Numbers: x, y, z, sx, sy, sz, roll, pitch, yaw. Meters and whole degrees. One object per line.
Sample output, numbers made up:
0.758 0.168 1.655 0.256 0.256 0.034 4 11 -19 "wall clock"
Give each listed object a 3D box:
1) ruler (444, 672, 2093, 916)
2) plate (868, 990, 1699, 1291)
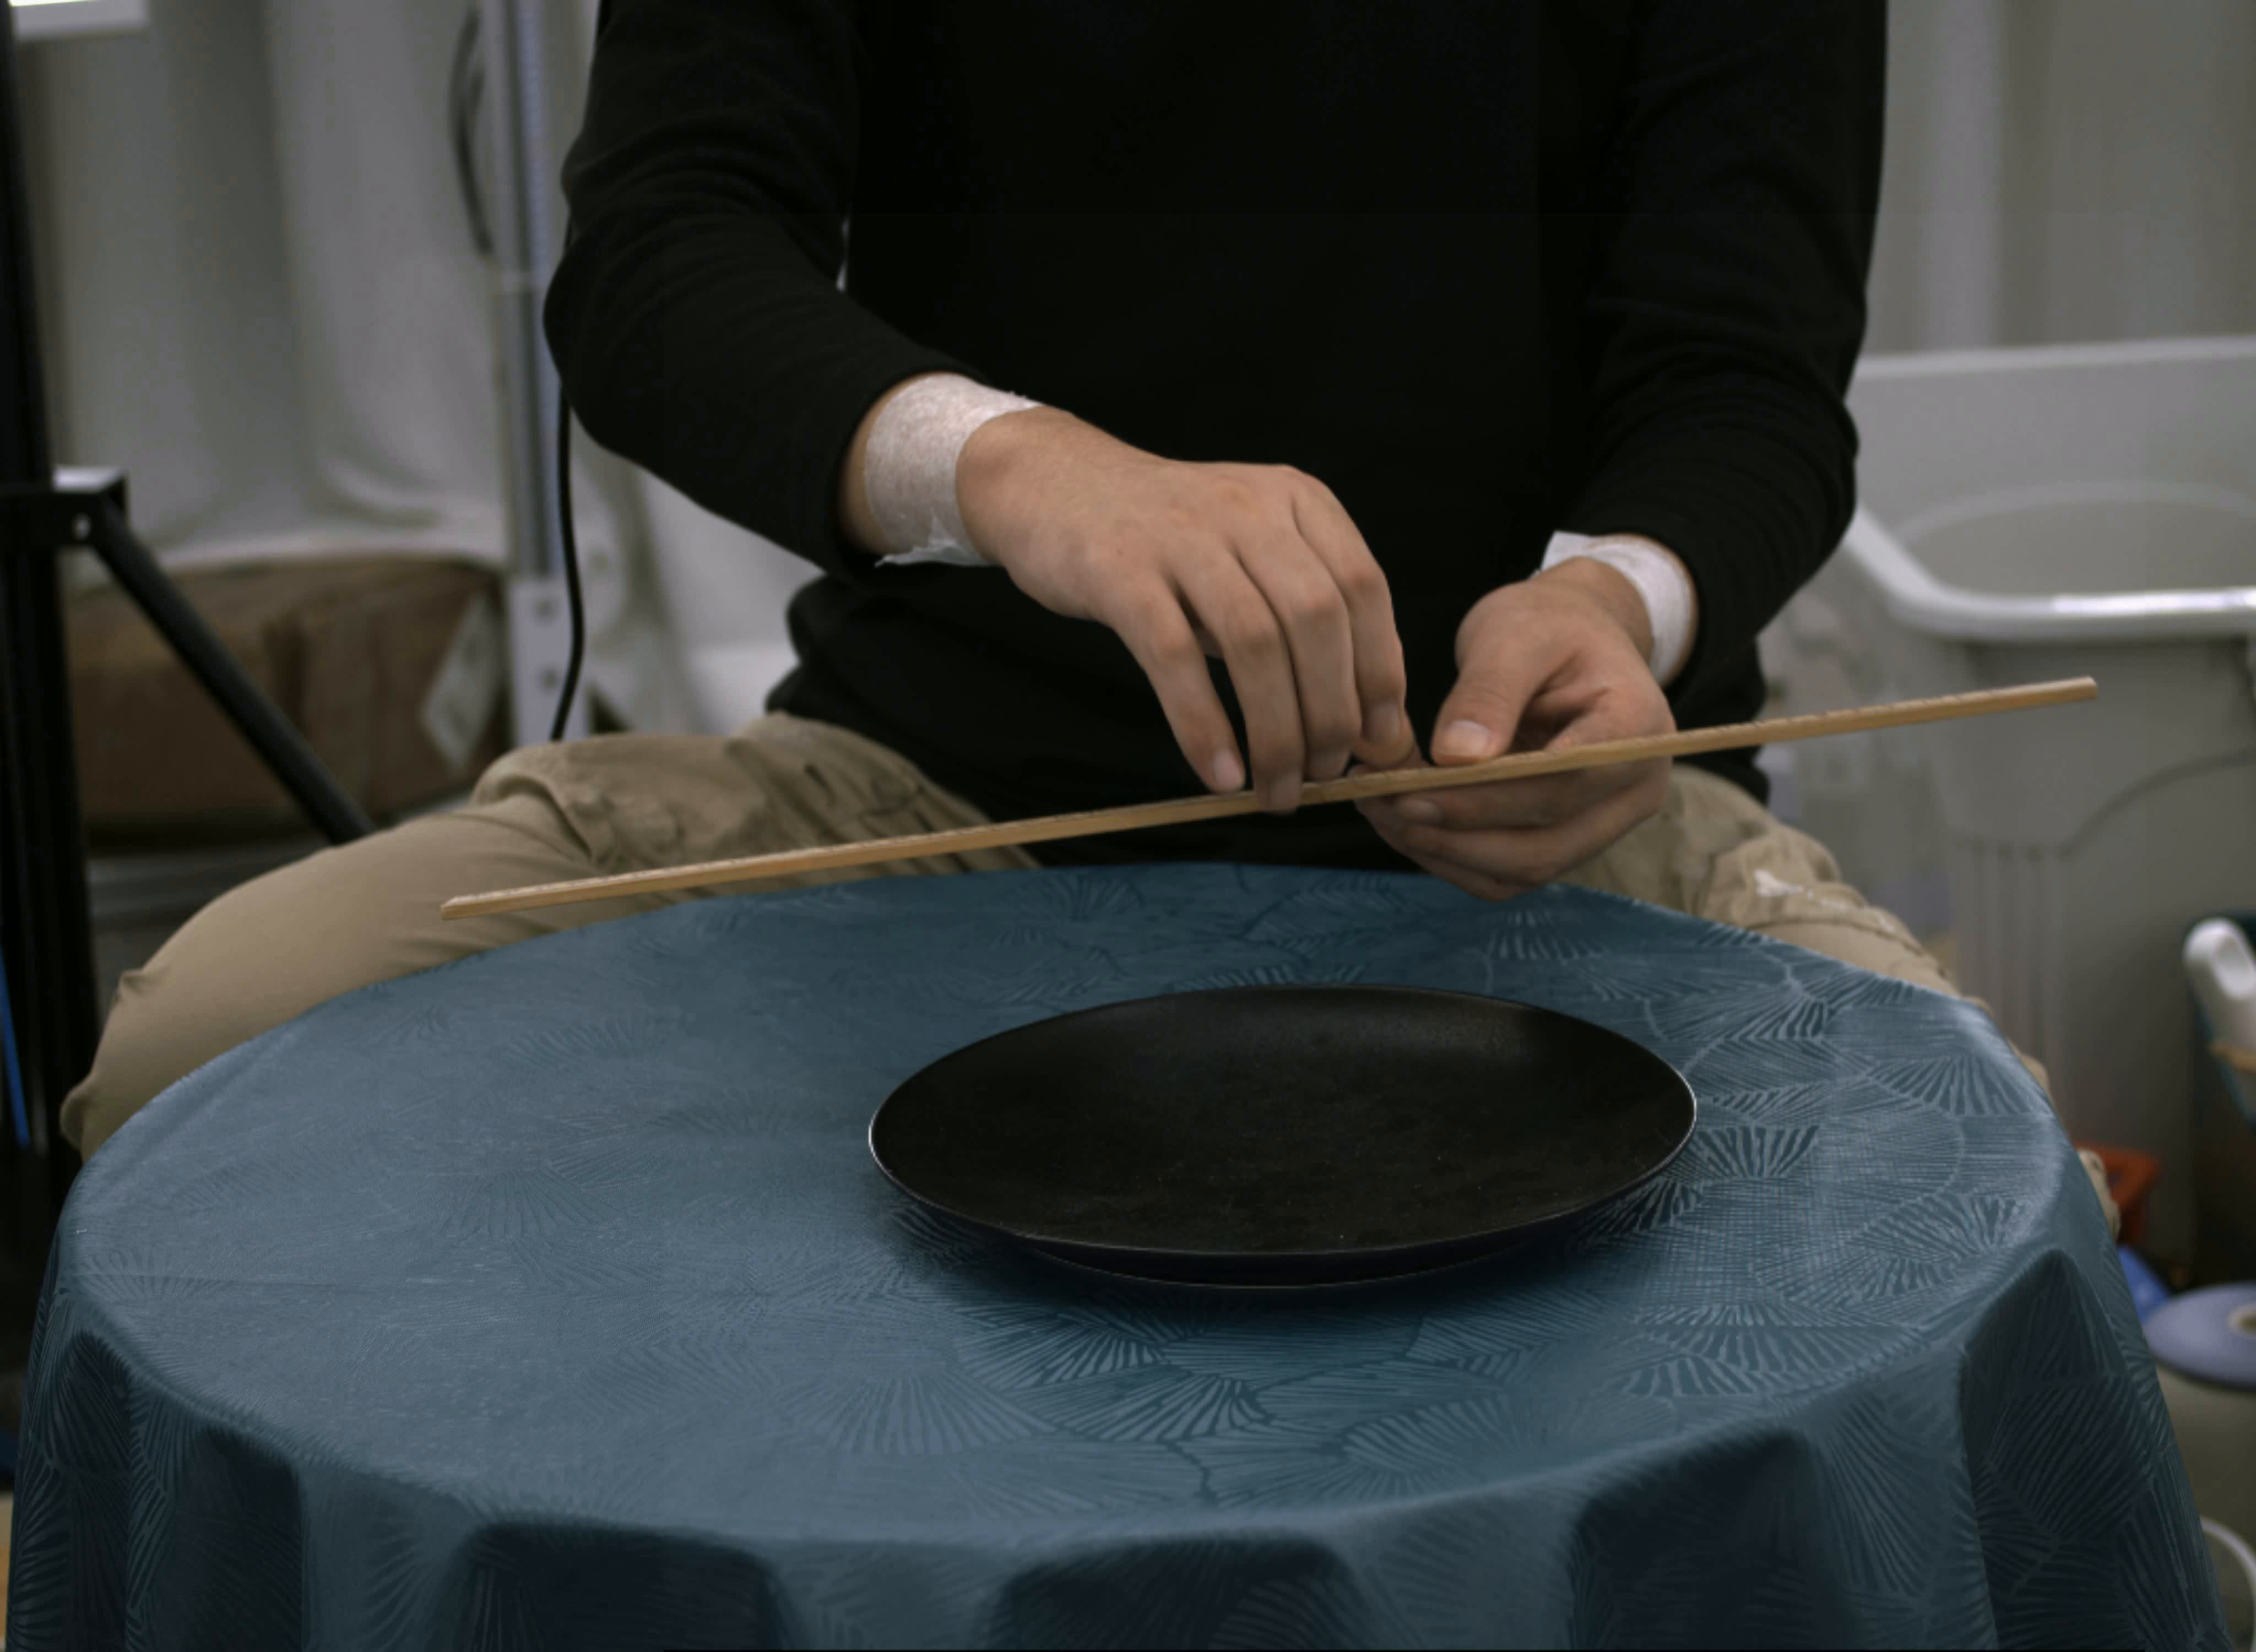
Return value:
0.038 -0.008 1.590 0.502 0.006 0.026 -8 3 10 "ruler"
0.046 0.094 1.556 0.243 0.023 0.245 -3 16 -1 "plate"
